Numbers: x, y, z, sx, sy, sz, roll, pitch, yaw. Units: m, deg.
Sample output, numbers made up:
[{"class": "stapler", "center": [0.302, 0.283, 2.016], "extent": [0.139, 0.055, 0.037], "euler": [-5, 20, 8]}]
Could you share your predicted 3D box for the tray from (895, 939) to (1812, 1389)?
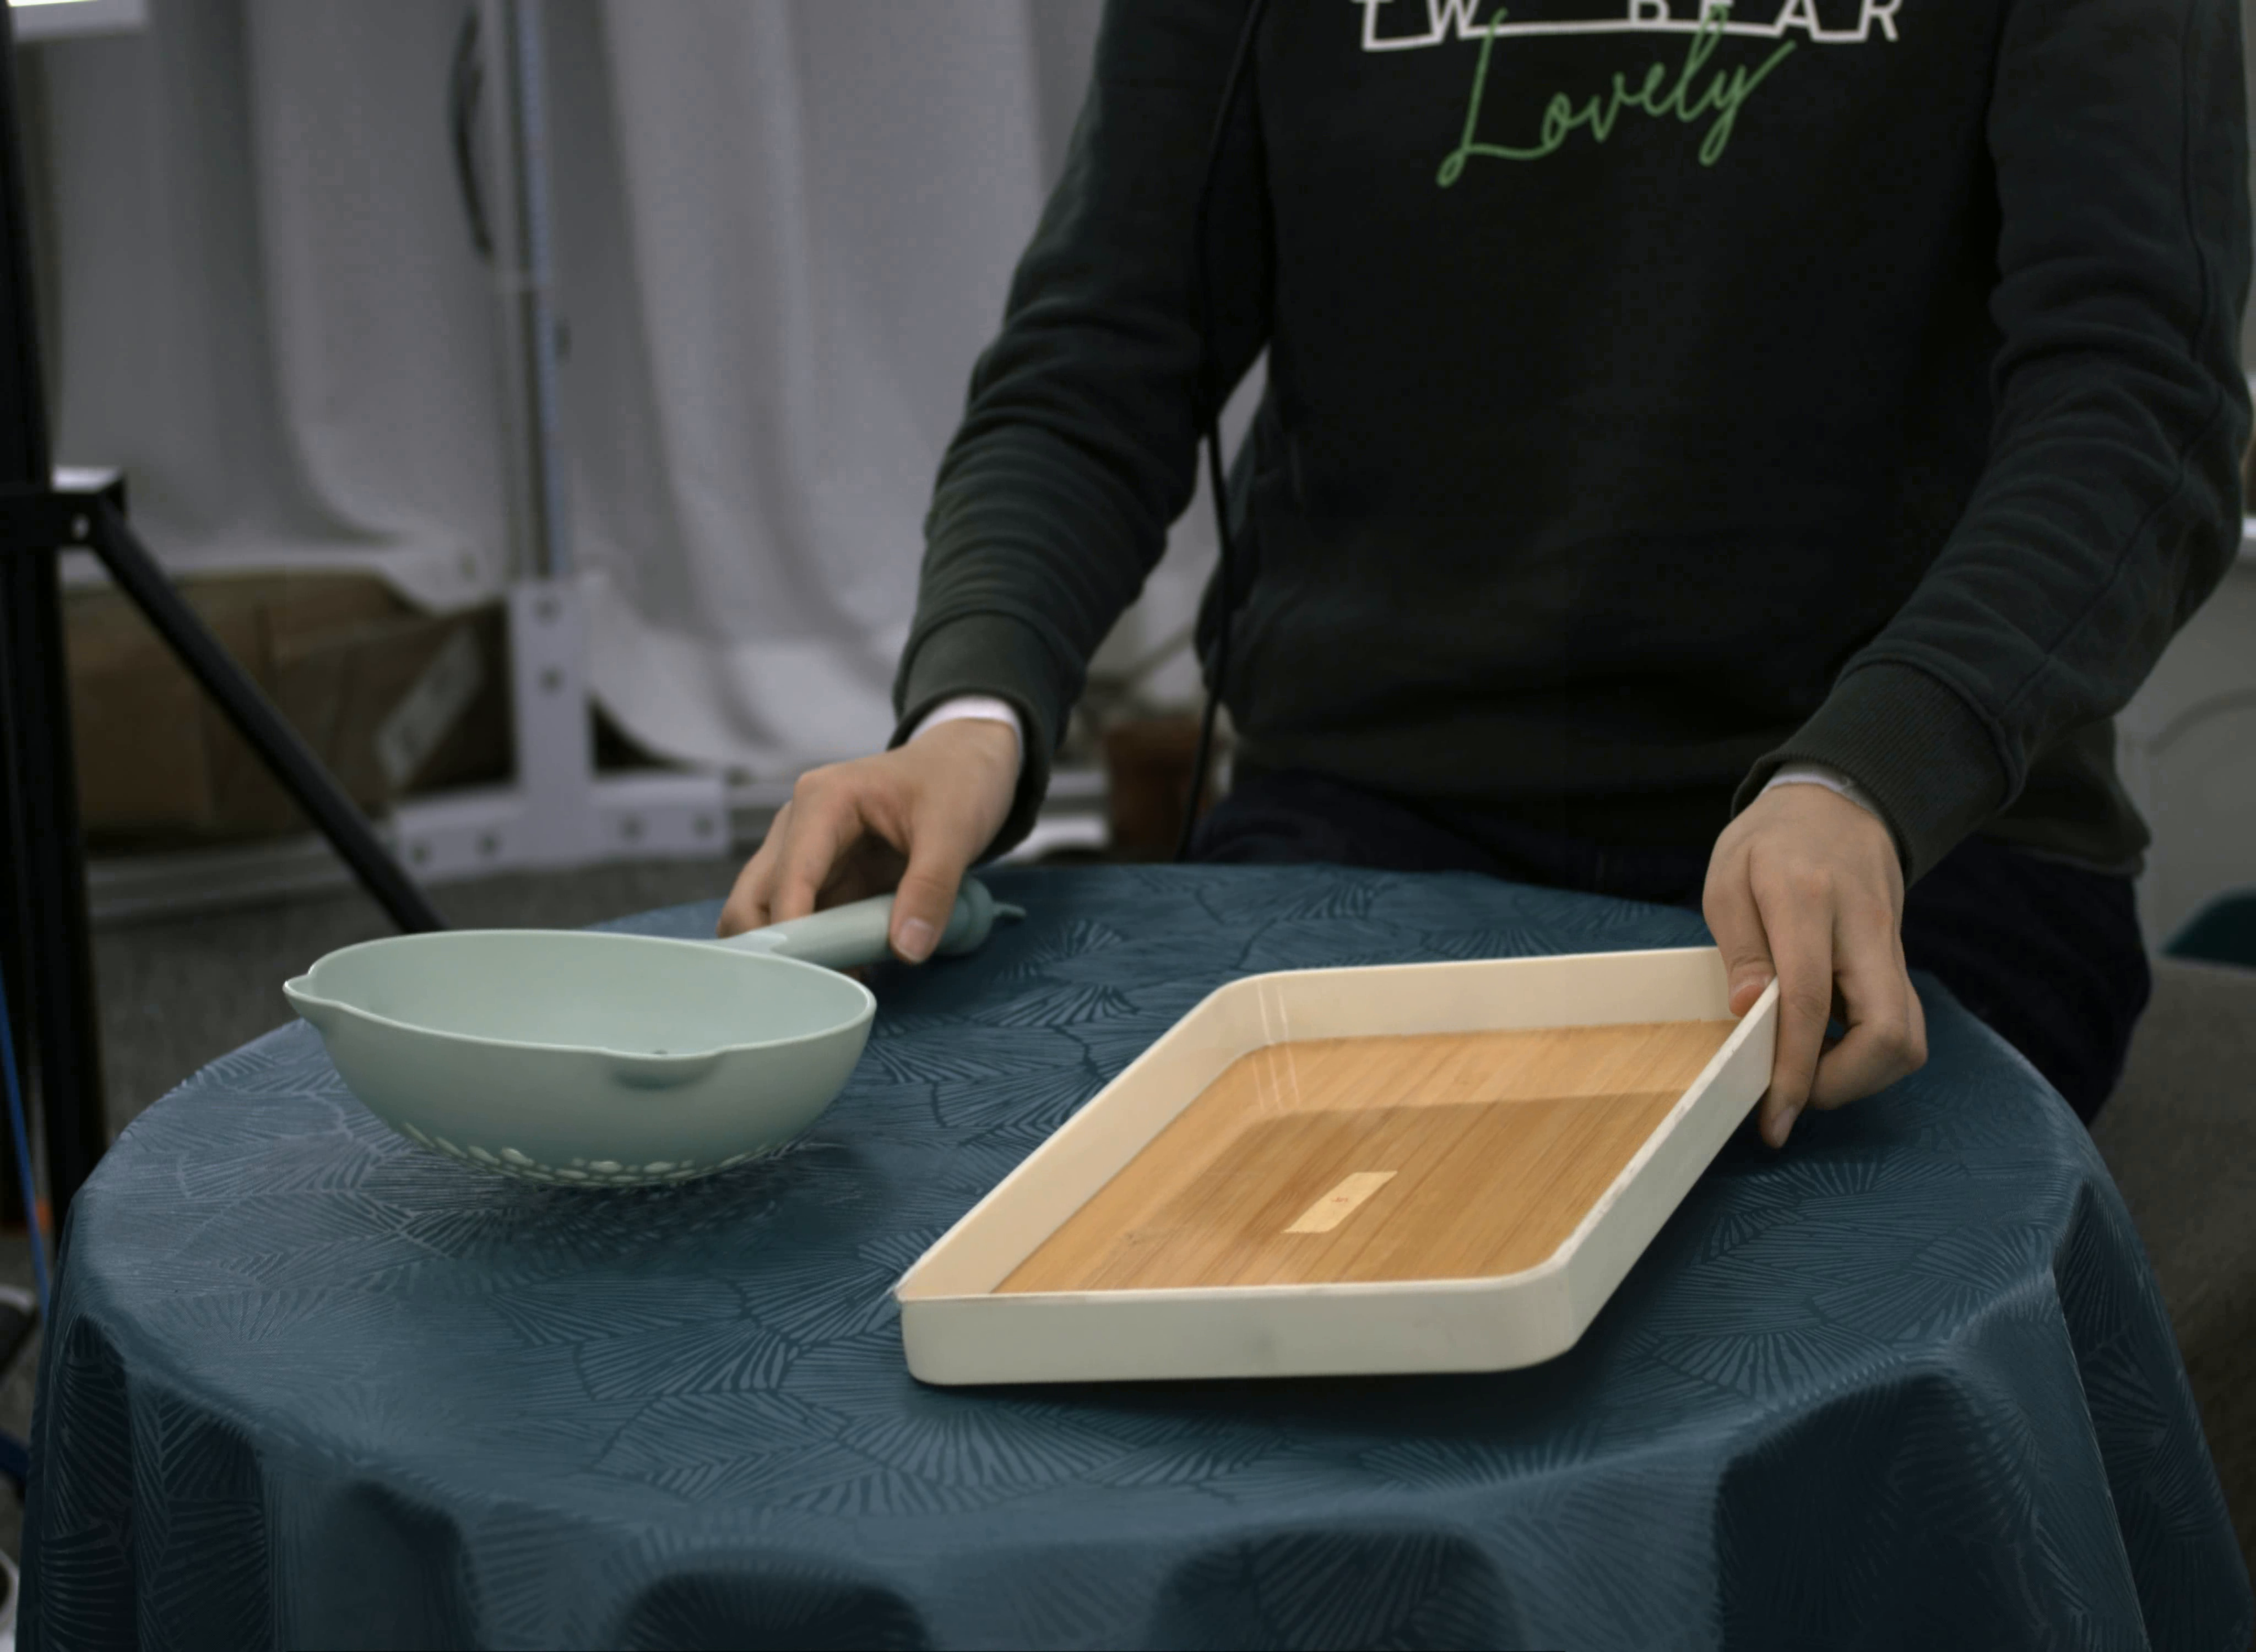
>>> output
[{"class": "tray", "center": [0.072, 0.093, 1.507], "extent": [0.194, 0.027, 0.296], "euler": [-5, 14, 23]}]

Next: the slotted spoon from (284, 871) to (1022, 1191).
[{"class": "slotted spoon", "center": [-0.118, 0.048, 1.672], "extent": [0.172, 0.075, 0.353], "euler": [9, 19, 25]}]
